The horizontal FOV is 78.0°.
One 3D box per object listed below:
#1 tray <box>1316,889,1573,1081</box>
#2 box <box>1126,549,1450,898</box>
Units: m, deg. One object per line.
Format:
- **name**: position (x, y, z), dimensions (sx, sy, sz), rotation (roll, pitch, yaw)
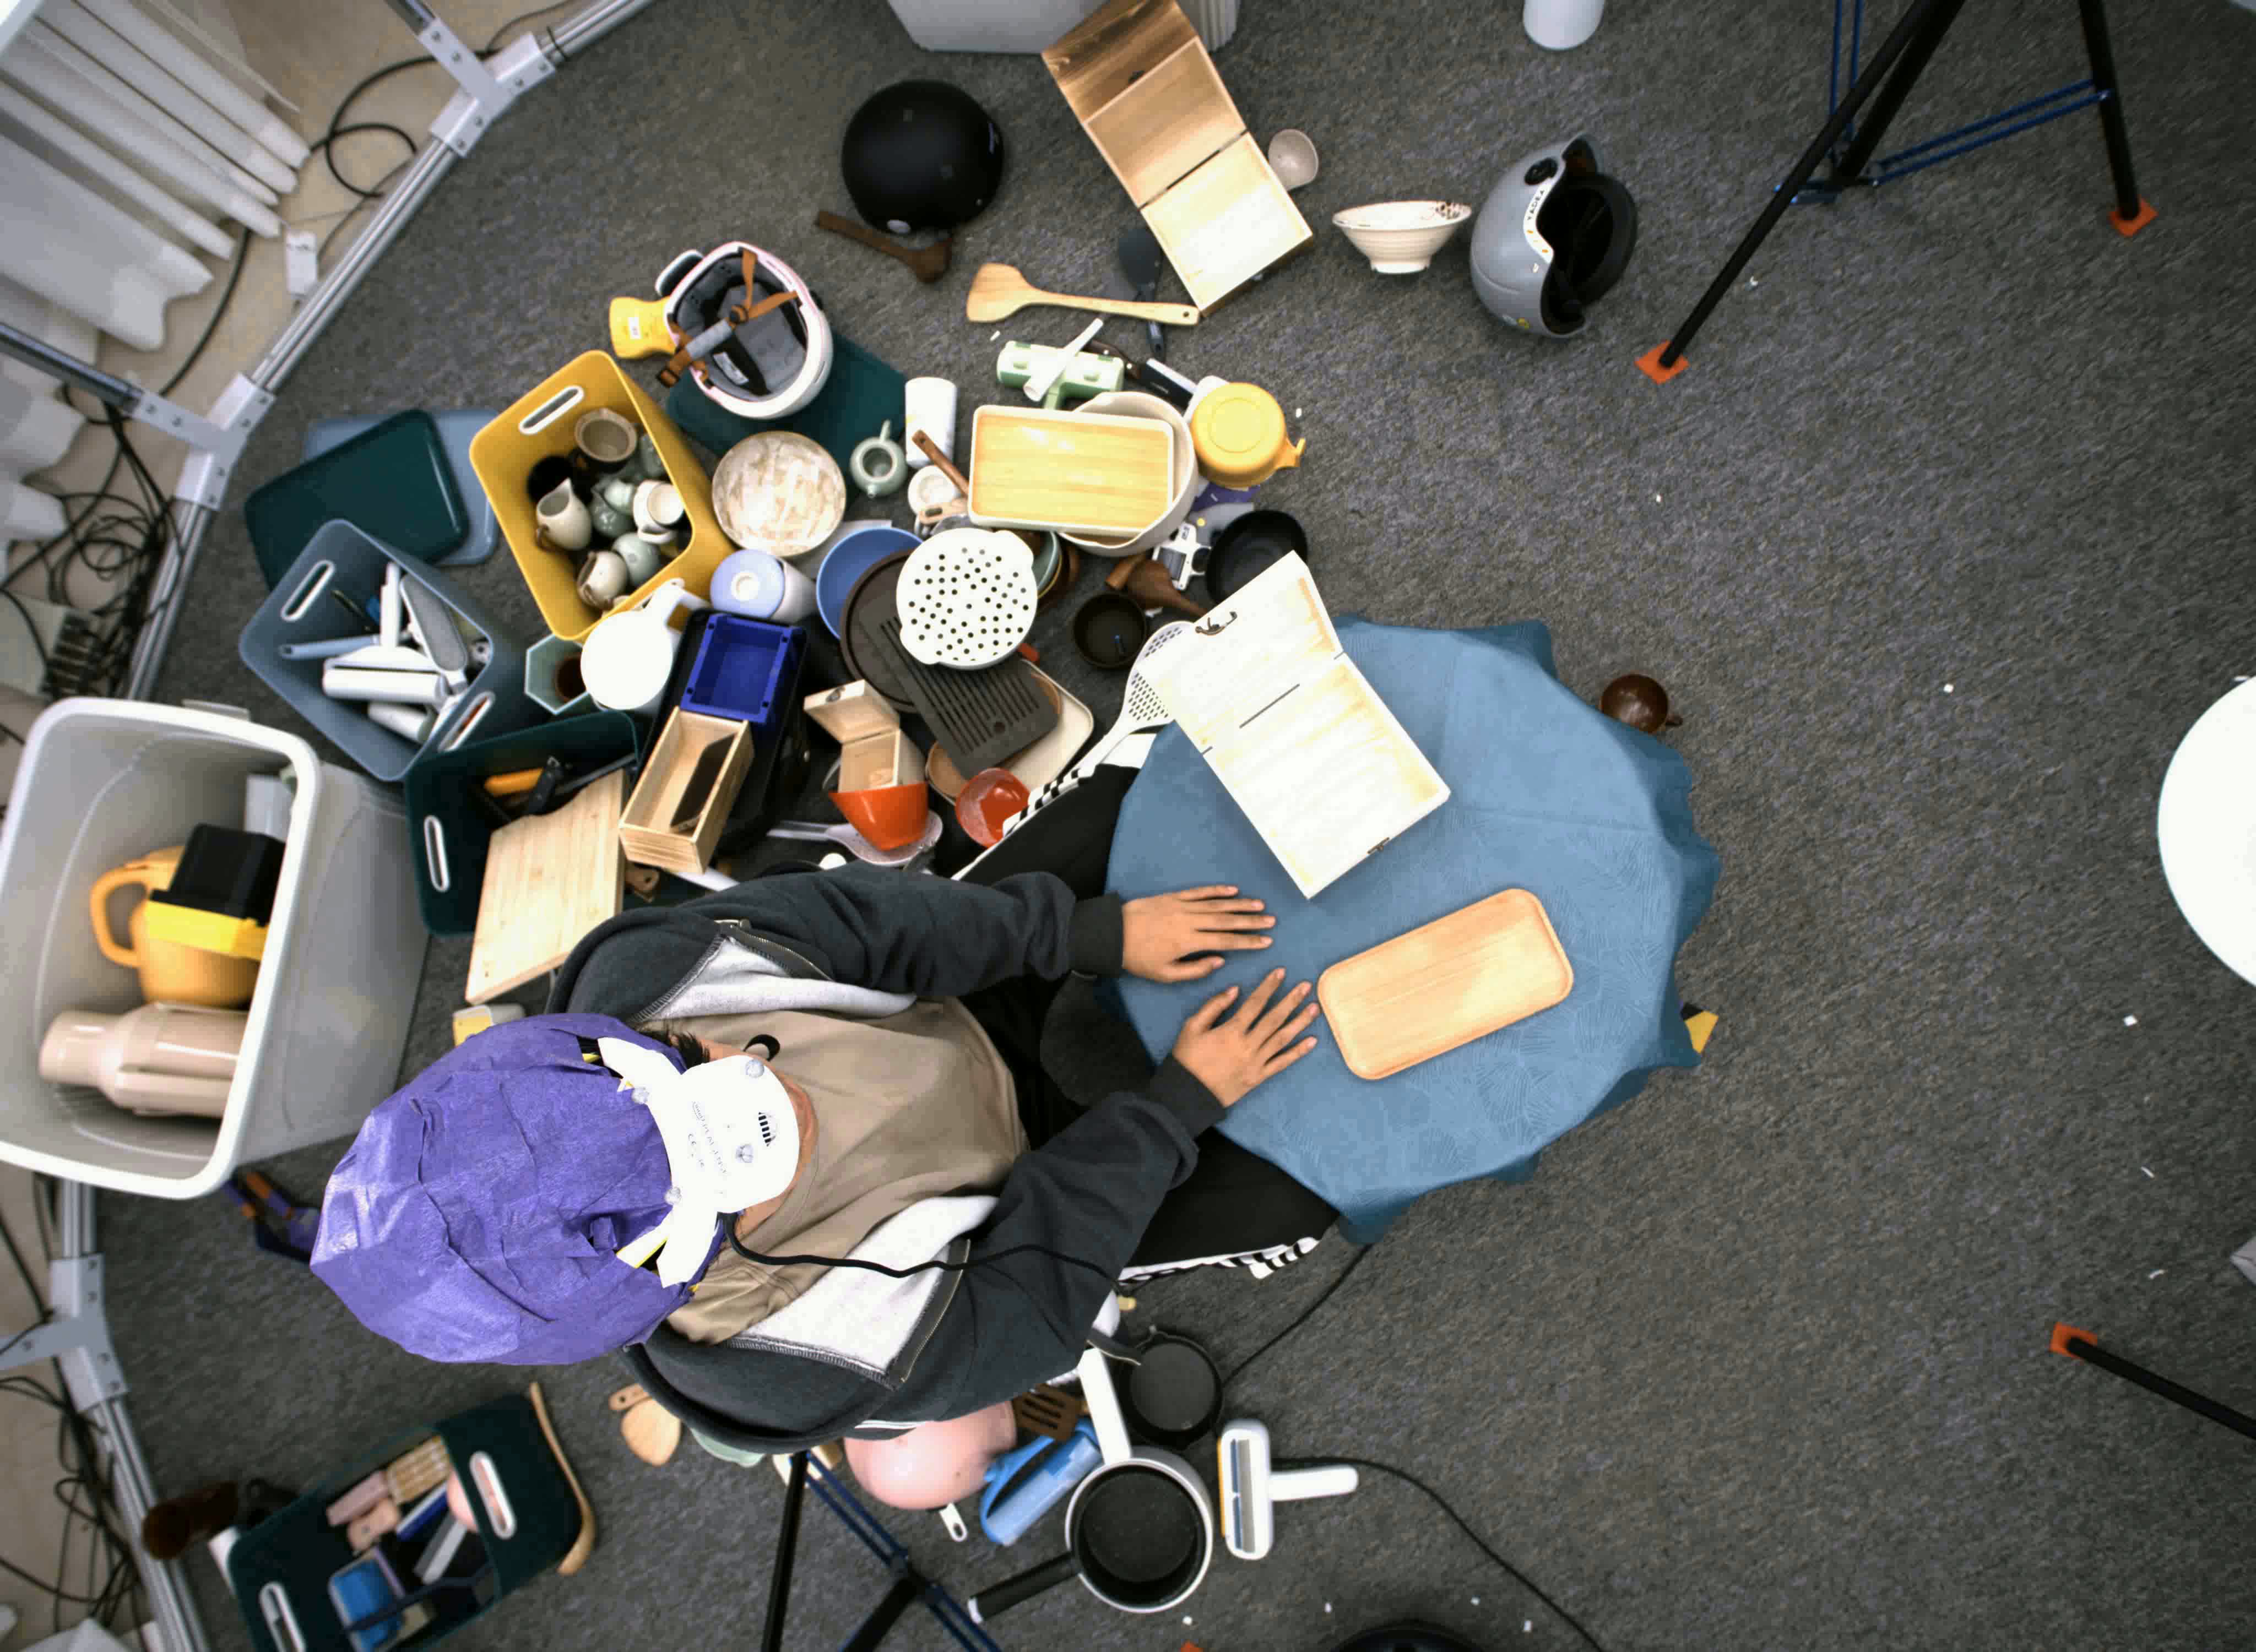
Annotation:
- **tray**: position (0.327, 0.164, 1.435), dimensions (0.252, 0.023, 0.129), rotation (-24, 80, 9)
- **box**: position (0.170, -0.087, 1.363), dimensions (0.183, 0.253, 0.263), rotation (-37, 79, 8)
